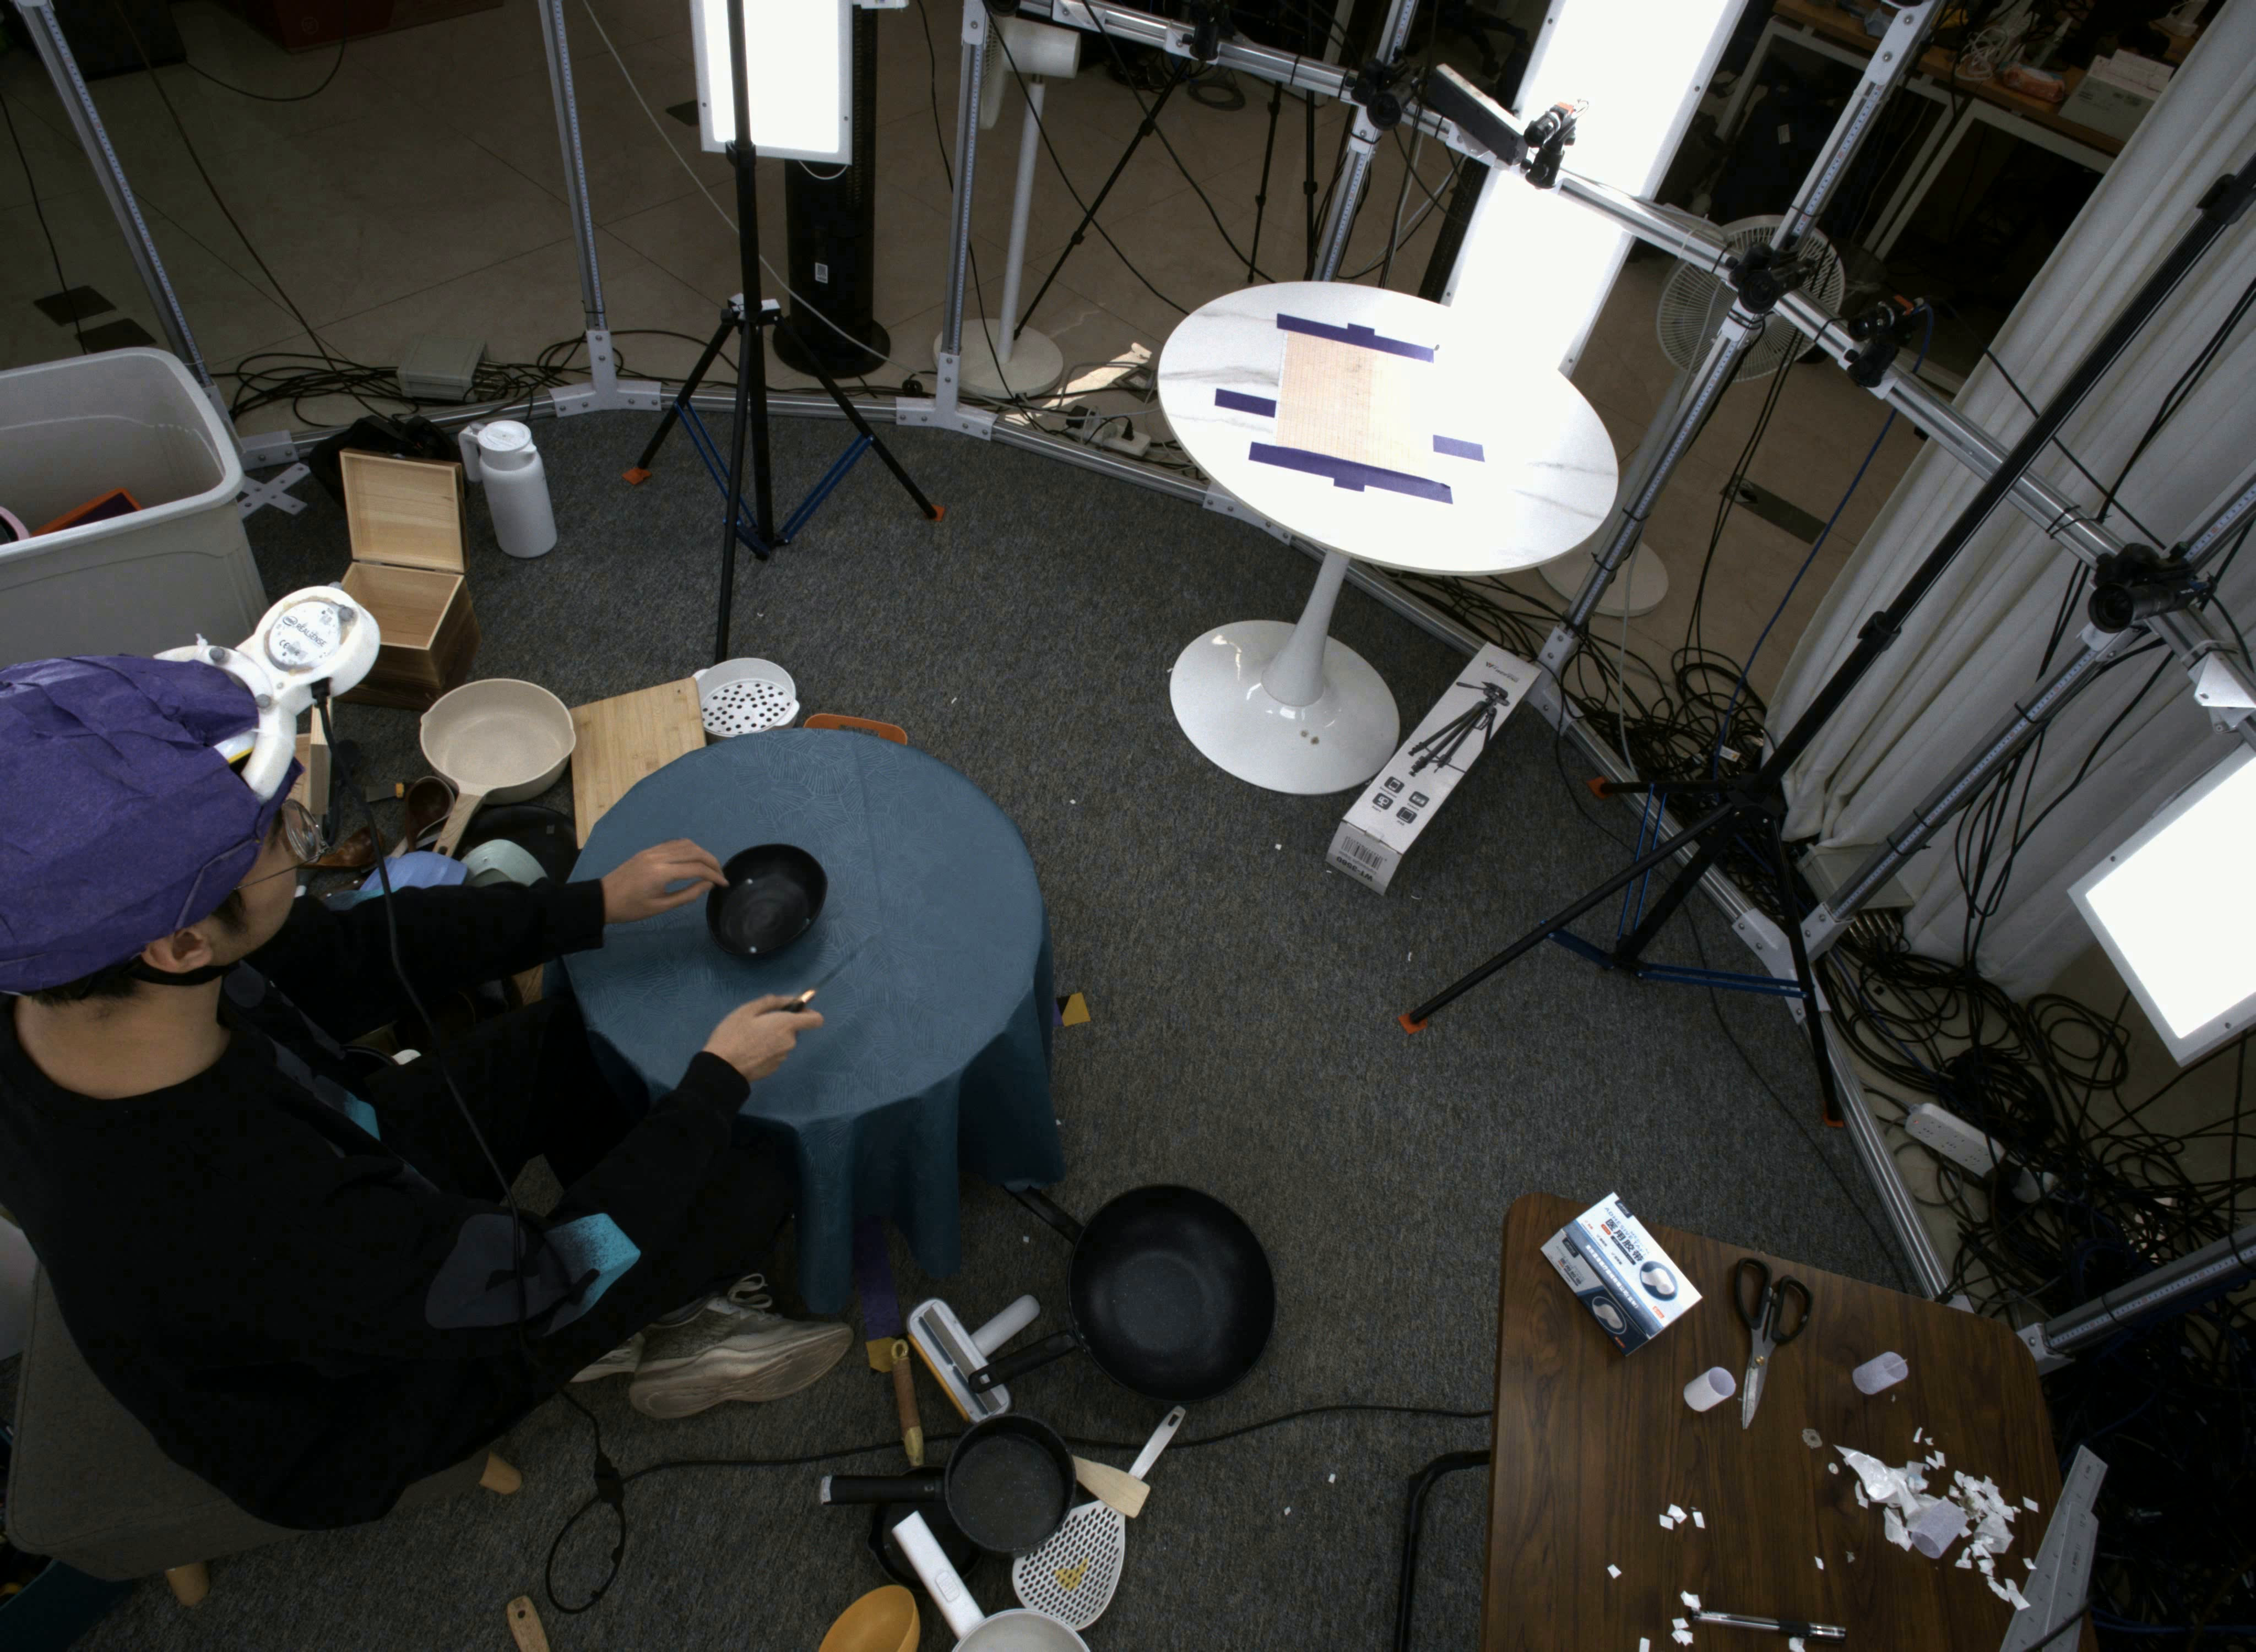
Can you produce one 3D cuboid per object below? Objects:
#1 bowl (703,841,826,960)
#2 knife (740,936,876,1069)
[{"bbox_3d":[-0.444,0.100,1.591,0.136,0.068,0.169,22,53,3],"label":"bowl"},{"bbox_3d":[-0.359,0.192,1.473,0.225,0.025,0.018,-46,111,-37],"label":"knife"}]
